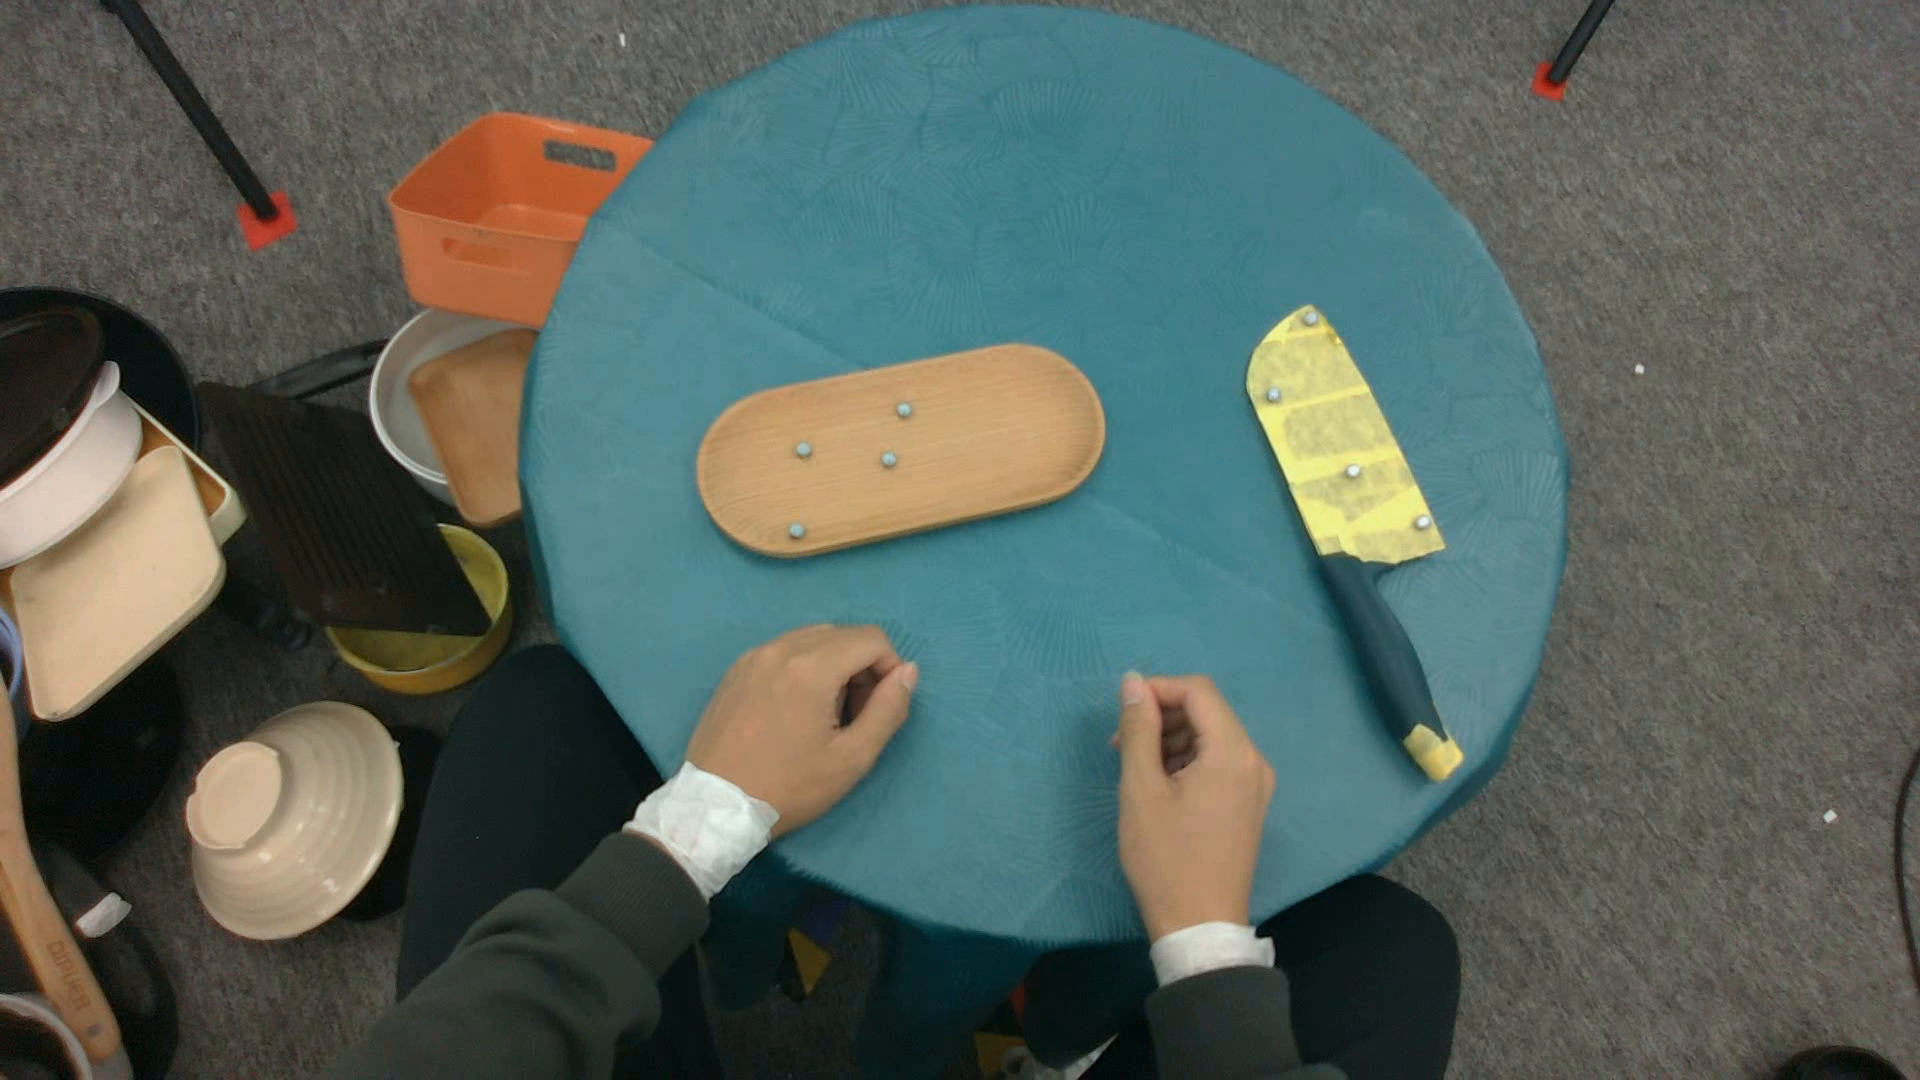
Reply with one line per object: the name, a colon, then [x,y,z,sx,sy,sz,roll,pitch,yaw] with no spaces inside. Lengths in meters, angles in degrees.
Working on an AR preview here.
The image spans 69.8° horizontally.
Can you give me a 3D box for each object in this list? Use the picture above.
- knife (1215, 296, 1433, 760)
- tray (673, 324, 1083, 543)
knife: [0.215,-0.017,0.782,0.081,0.027,0.290,-12,69,-10]
tray: [-0.043,-0.060,0.768,0.231,0.020,0.102,-13,72,-13]
